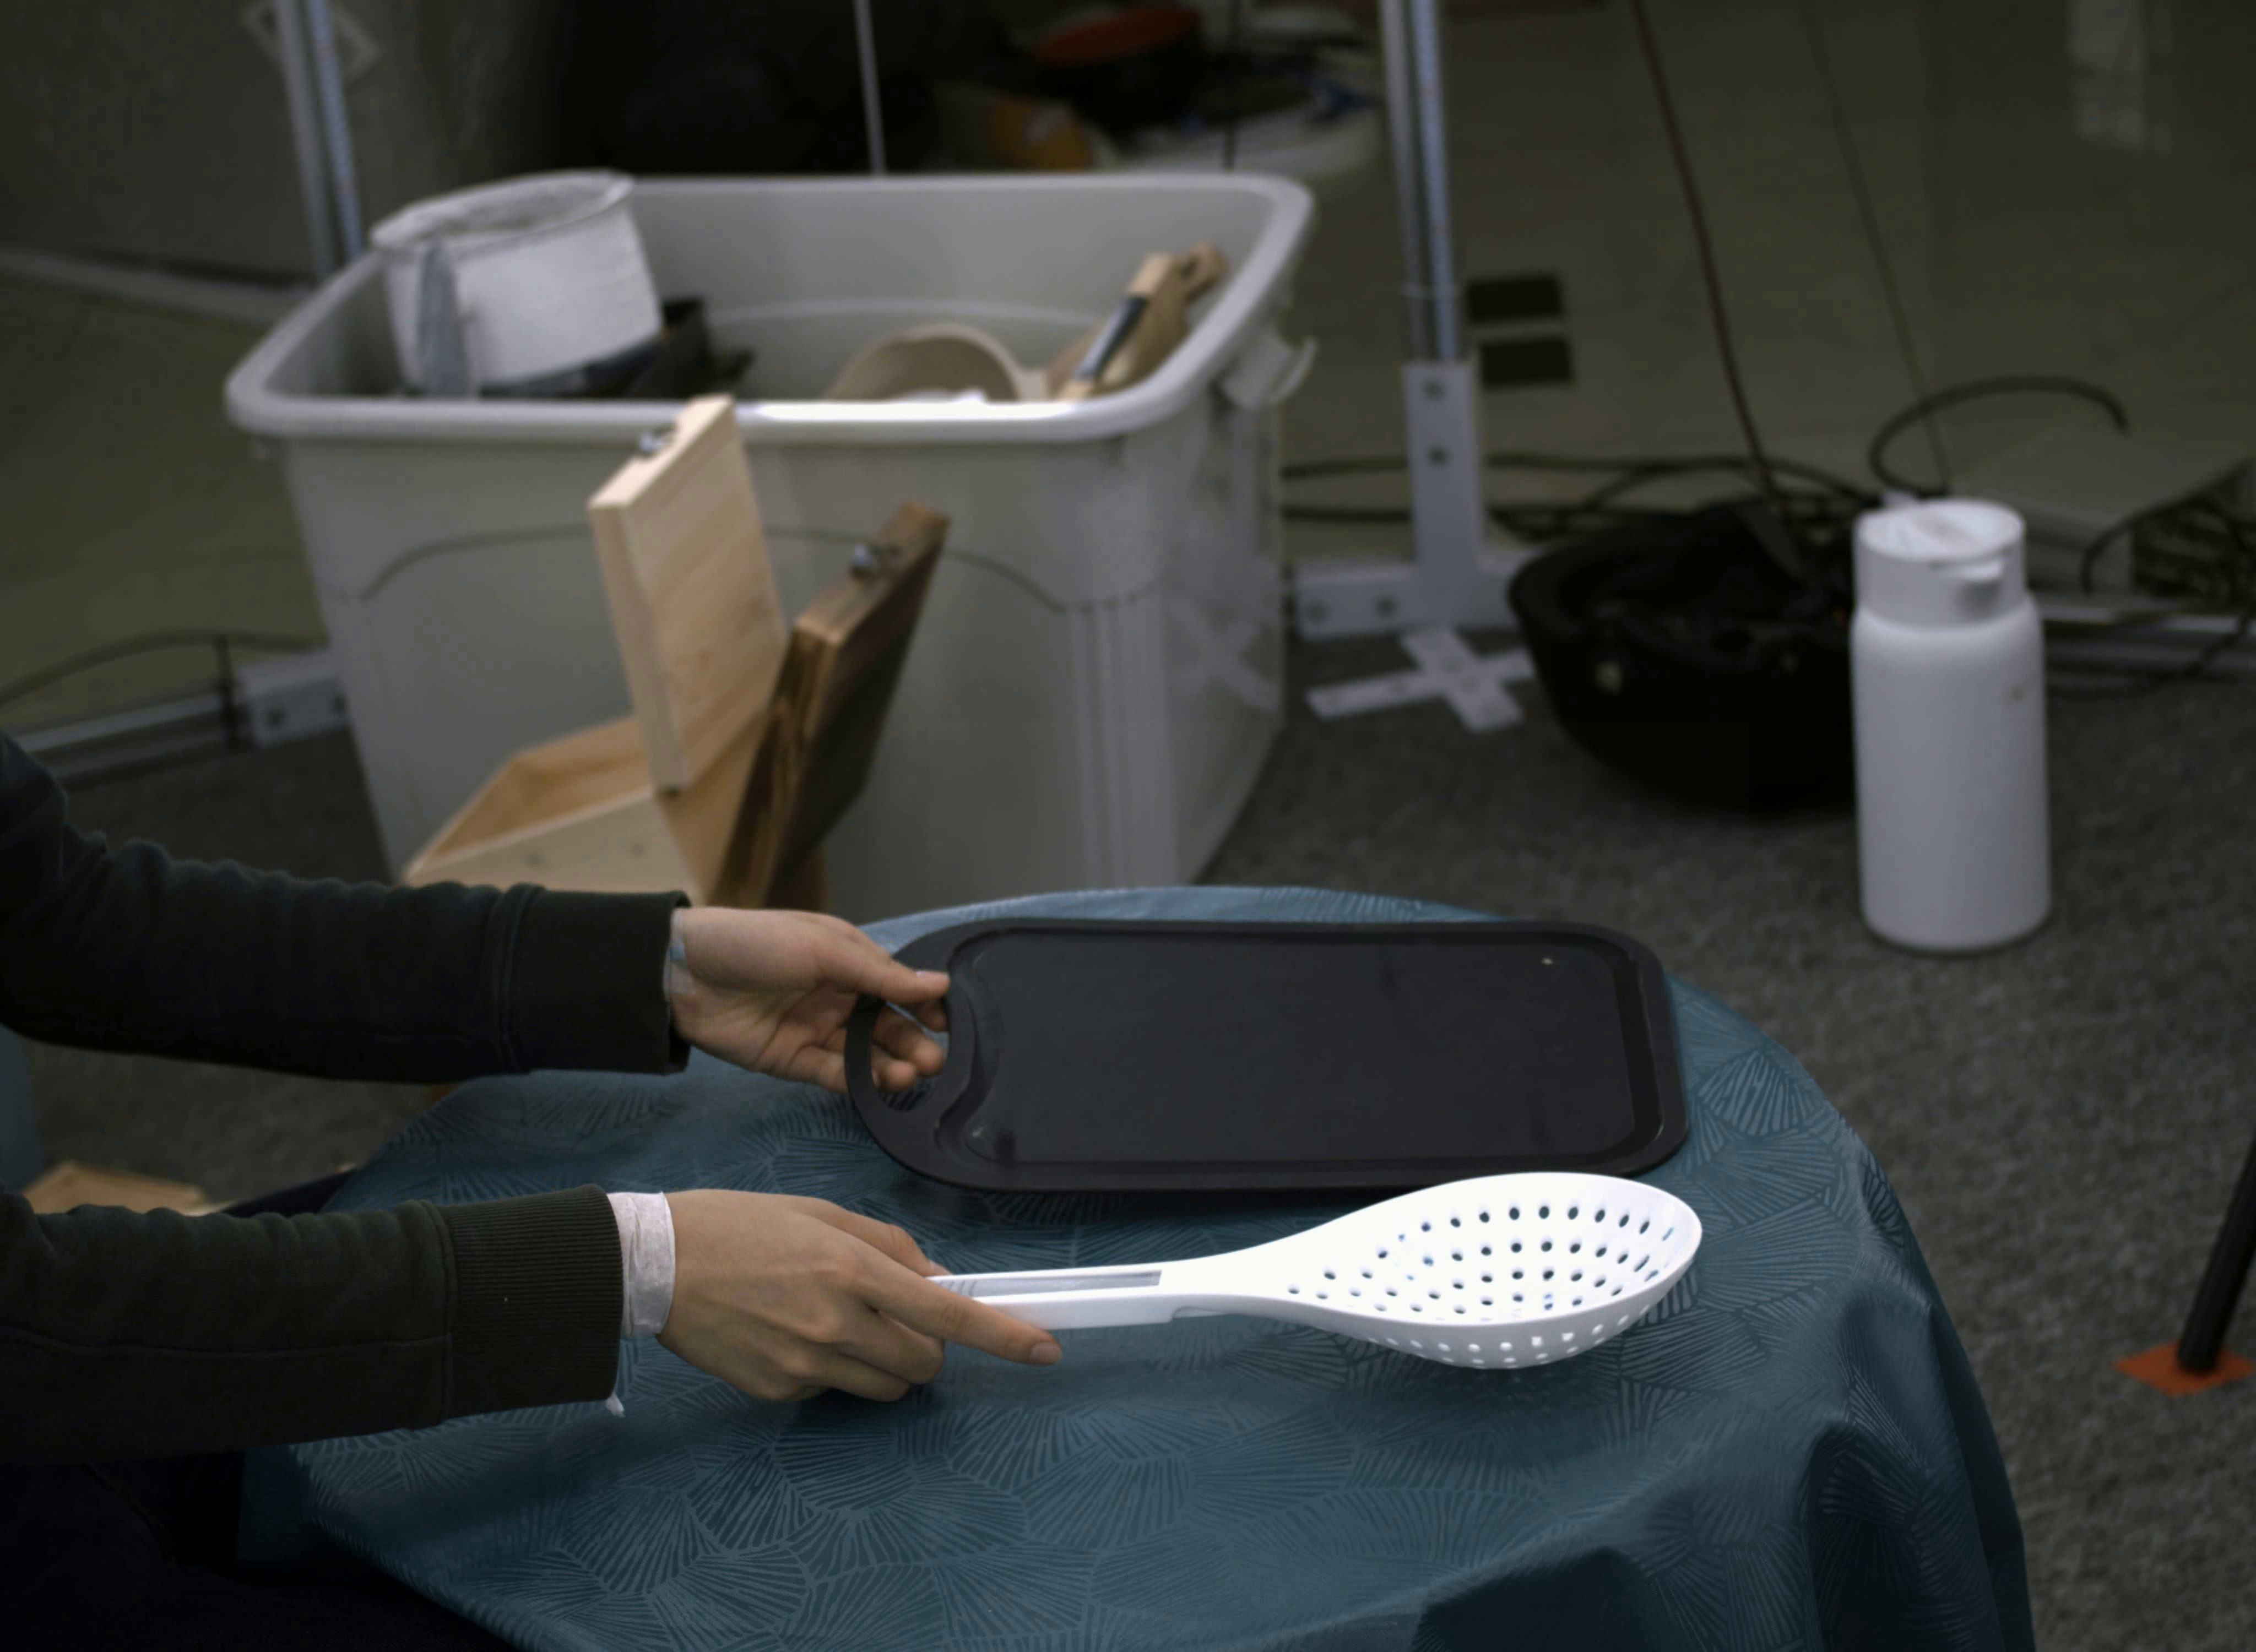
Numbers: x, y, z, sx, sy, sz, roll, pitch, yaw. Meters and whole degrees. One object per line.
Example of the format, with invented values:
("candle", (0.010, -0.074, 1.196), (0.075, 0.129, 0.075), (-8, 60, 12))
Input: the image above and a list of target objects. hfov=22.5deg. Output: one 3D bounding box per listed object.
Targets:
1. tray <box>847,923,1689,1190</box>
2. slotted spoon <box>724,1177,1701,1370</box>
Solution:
("tray", (0.053, 0.086, 2.210), (0.325, 0.010, 0.208), (0, 27, 1))
("slotted spoon", (0.028, 0.164, 2.018), (0.349, 0.046, 0.134), (0, 18, 6))
